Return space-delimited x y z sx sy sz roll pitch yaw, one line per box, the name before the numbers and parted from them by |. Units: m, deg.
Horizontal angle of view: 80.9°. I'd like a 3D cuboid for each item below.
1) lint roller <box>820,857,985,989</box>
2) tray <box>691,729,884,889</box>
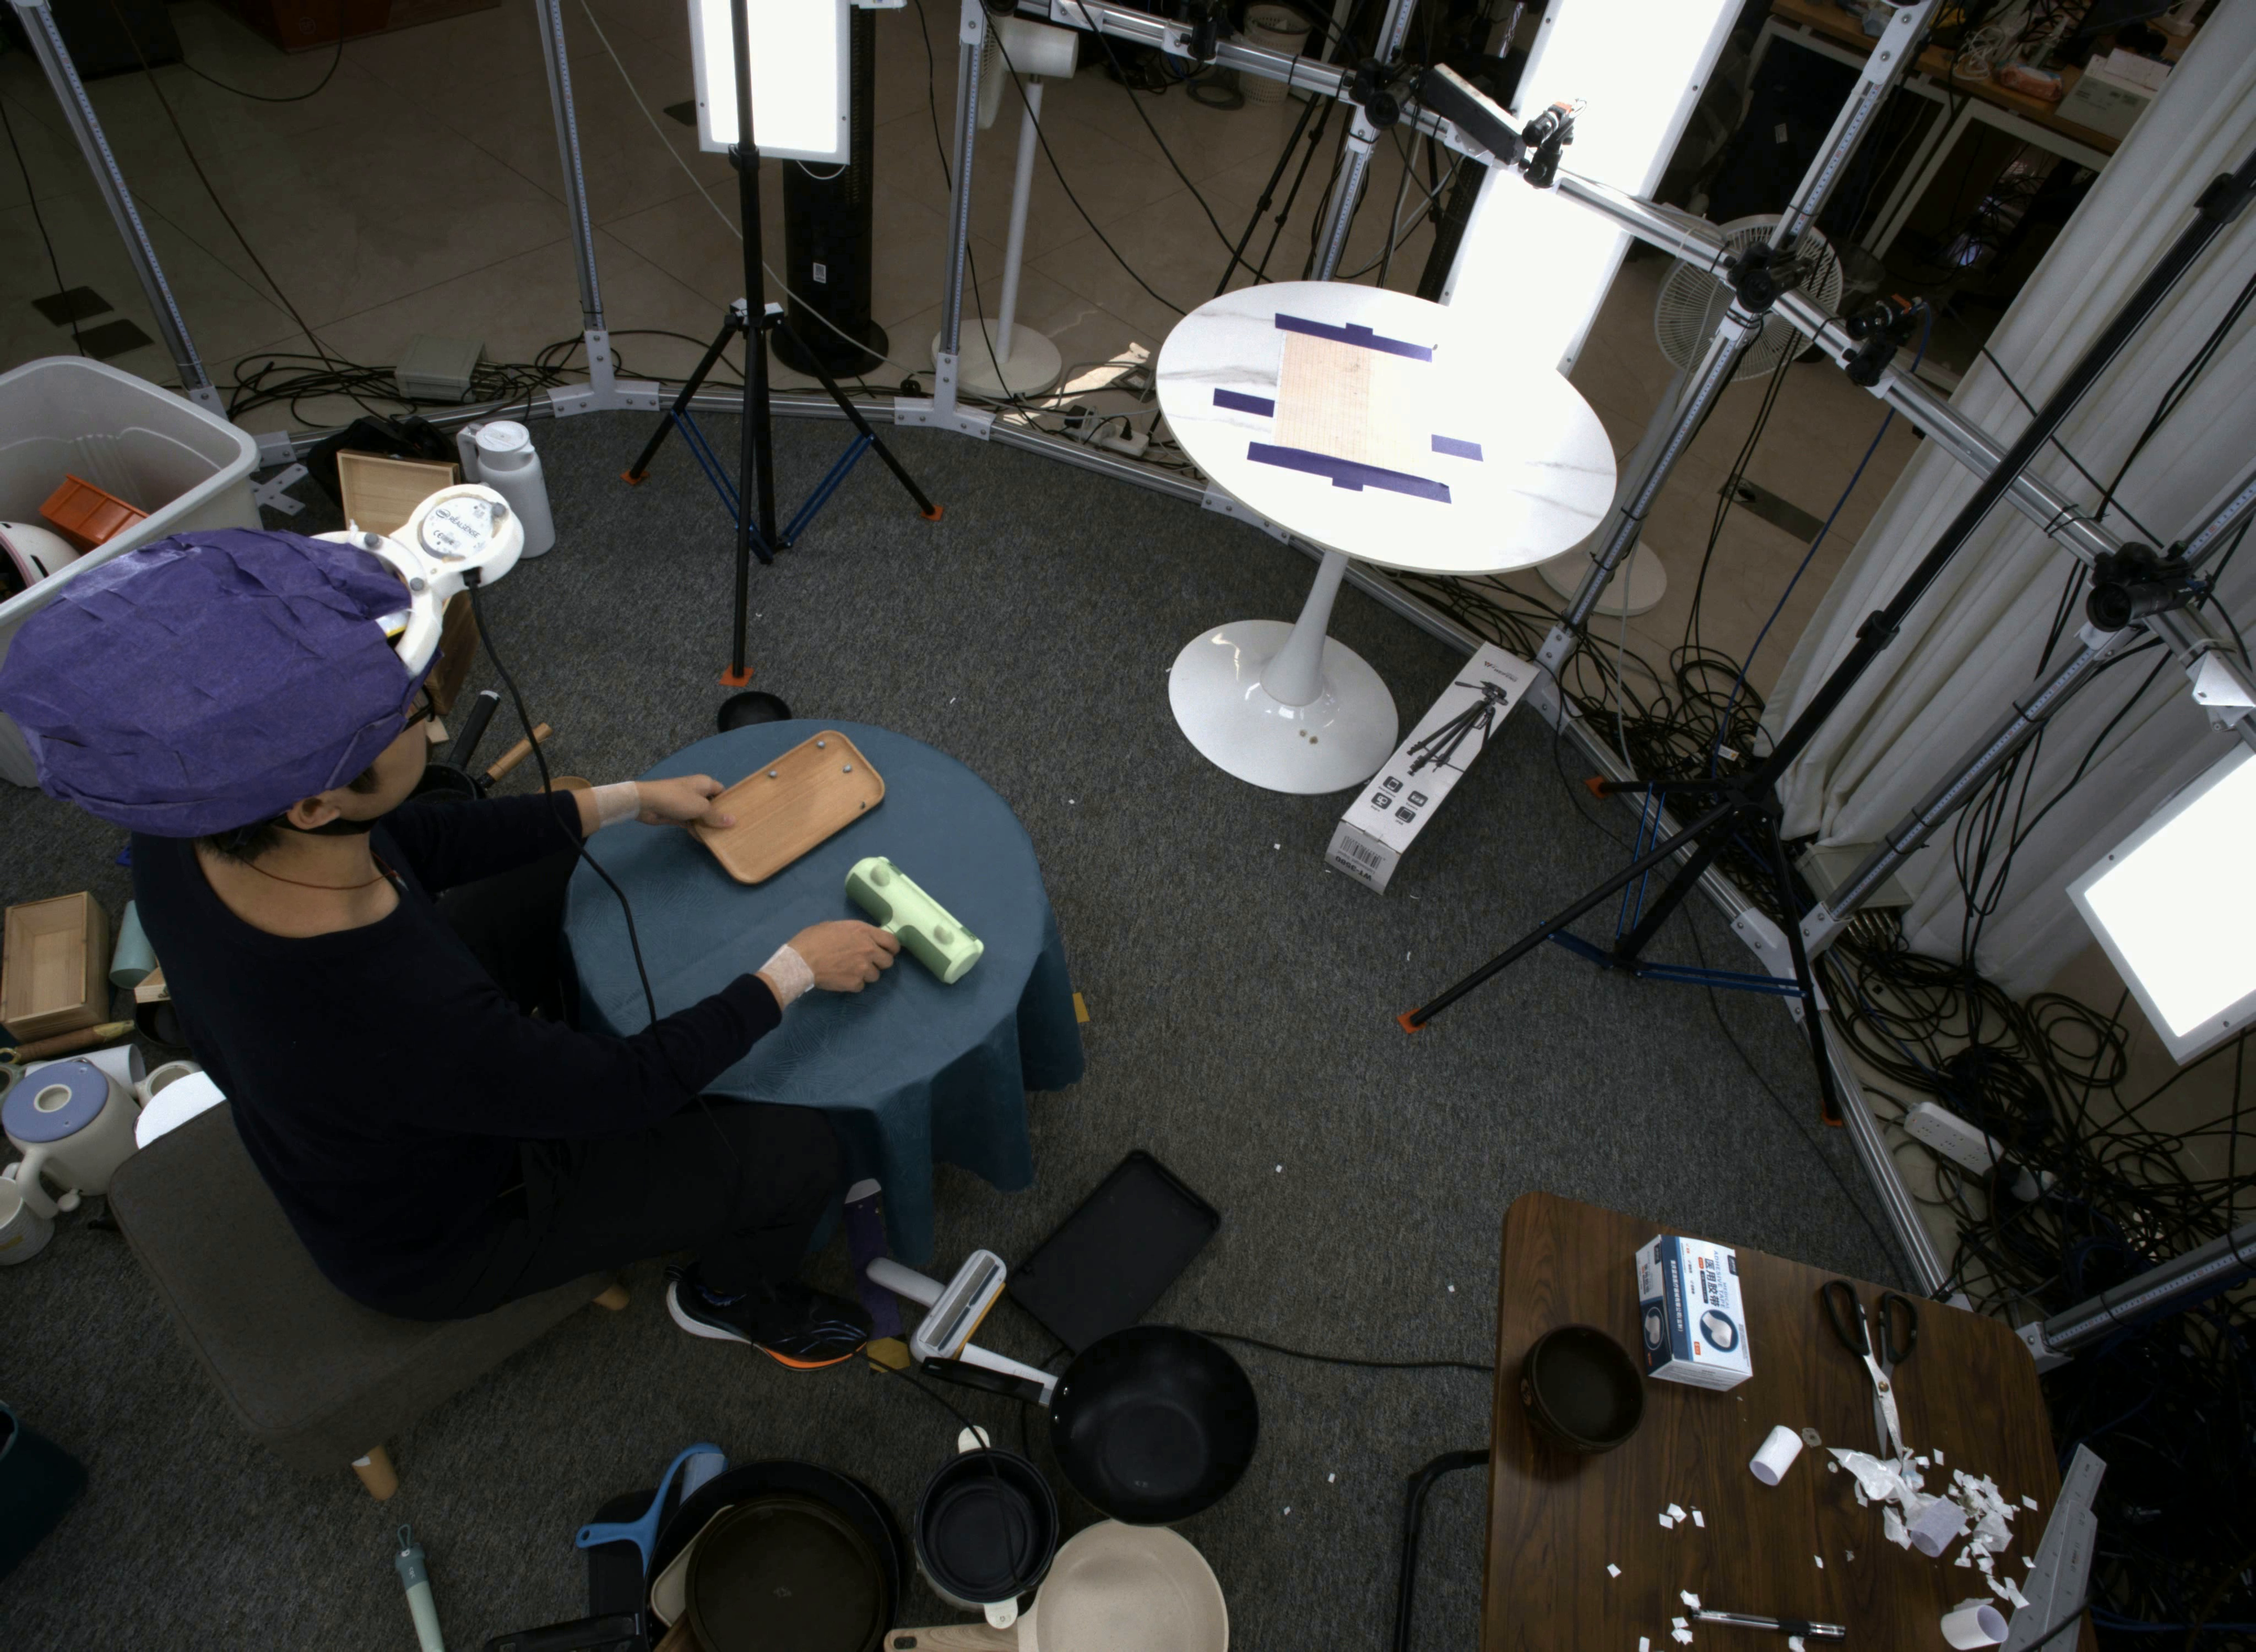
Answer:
lint roller | -0.301 0.128 1.584 0.194 0.083 0.184 38 40 16
tray | -0.443 -0.025 1.698 0.130 0.023 0.251 48 56 4
